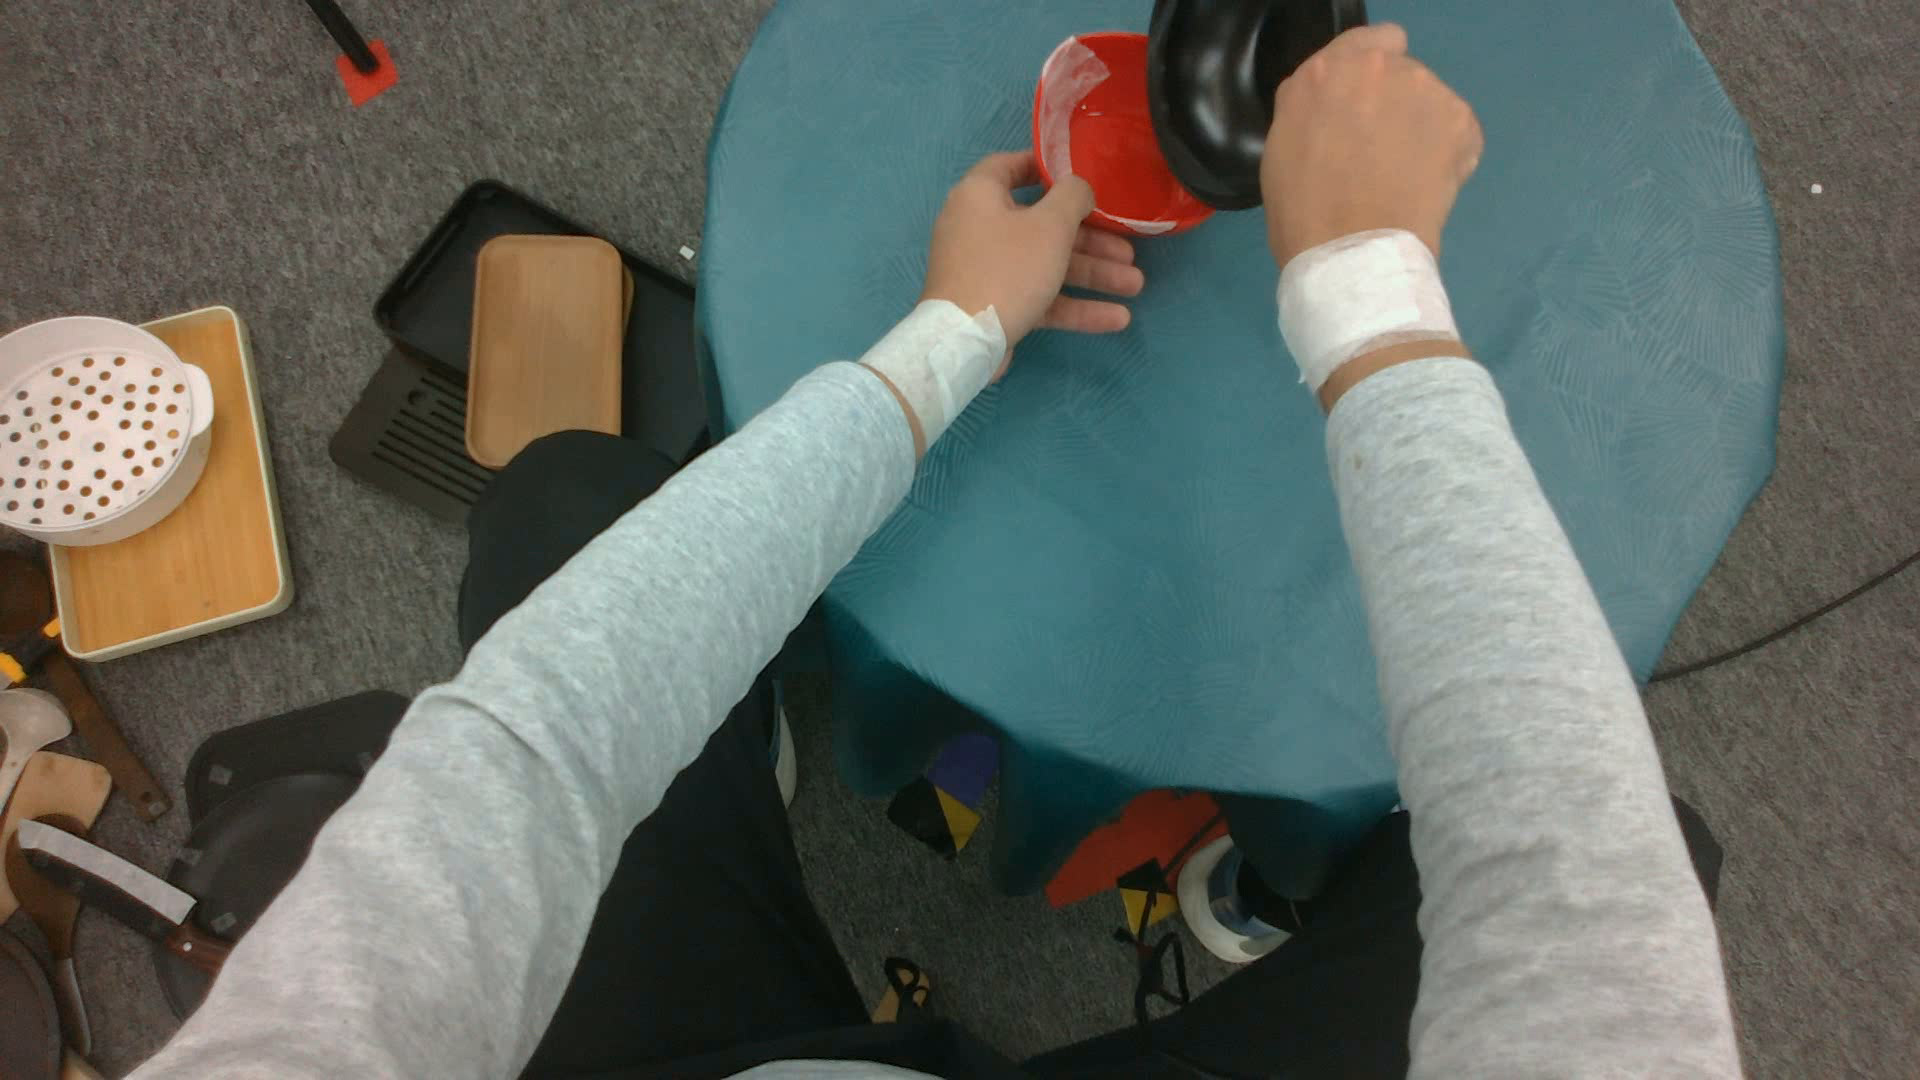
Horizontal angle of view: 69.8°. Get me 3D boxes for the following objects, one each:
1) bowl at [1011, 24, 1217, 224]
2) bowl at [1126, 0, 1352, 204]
[{"bbox_3d":[0.077,-0.214,0.739,0.119,0.051,0.119,3,73,-9],"label":"bowl"},{"bbox_3d":[0.143,-0.239,0.676,0.050,0.139,0.140,-17,77,-29],"label":"bowl"}]
